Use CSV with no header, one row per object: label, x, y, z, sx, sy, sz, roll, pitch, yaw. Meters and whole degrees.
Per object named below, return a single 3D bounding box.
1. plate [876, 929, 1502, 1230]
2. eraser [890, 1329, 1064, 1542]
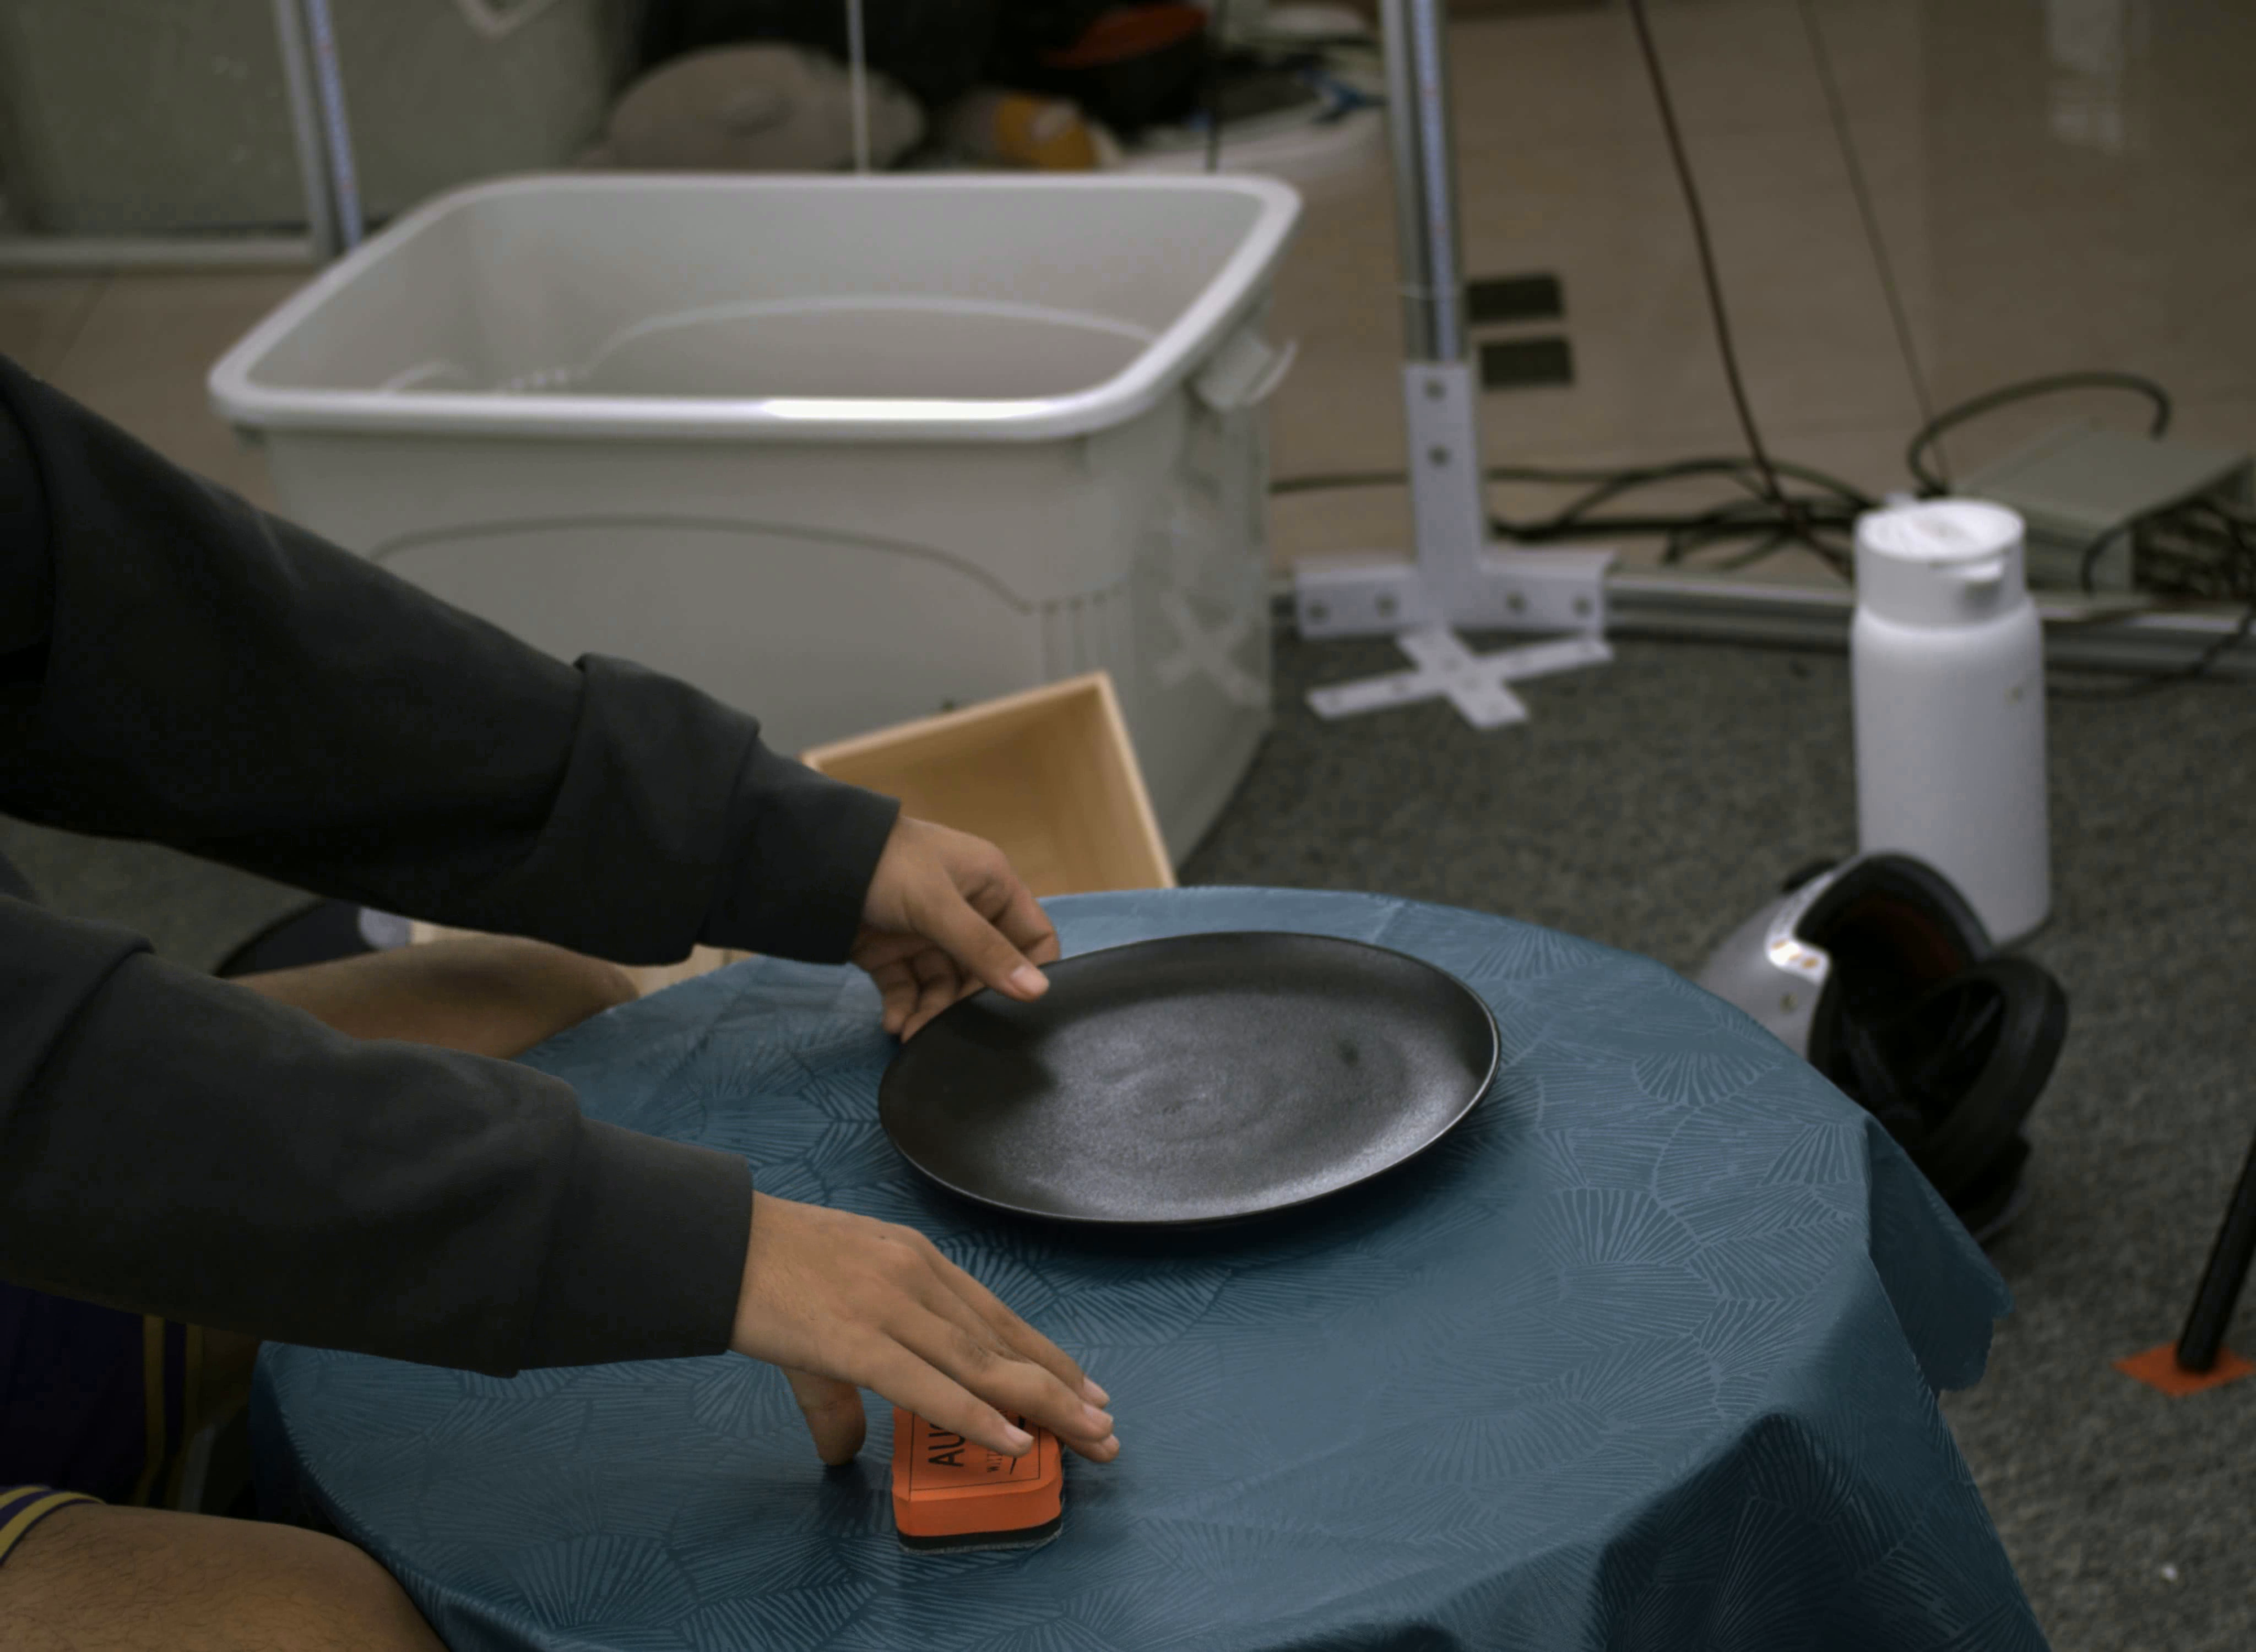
plate,0.024,0.103,2.191,0.244,0.024,0.241,-5,25,3
eraser,-0.052,0.210,1.970,0.059,0.023,0.106,-4,23,1
